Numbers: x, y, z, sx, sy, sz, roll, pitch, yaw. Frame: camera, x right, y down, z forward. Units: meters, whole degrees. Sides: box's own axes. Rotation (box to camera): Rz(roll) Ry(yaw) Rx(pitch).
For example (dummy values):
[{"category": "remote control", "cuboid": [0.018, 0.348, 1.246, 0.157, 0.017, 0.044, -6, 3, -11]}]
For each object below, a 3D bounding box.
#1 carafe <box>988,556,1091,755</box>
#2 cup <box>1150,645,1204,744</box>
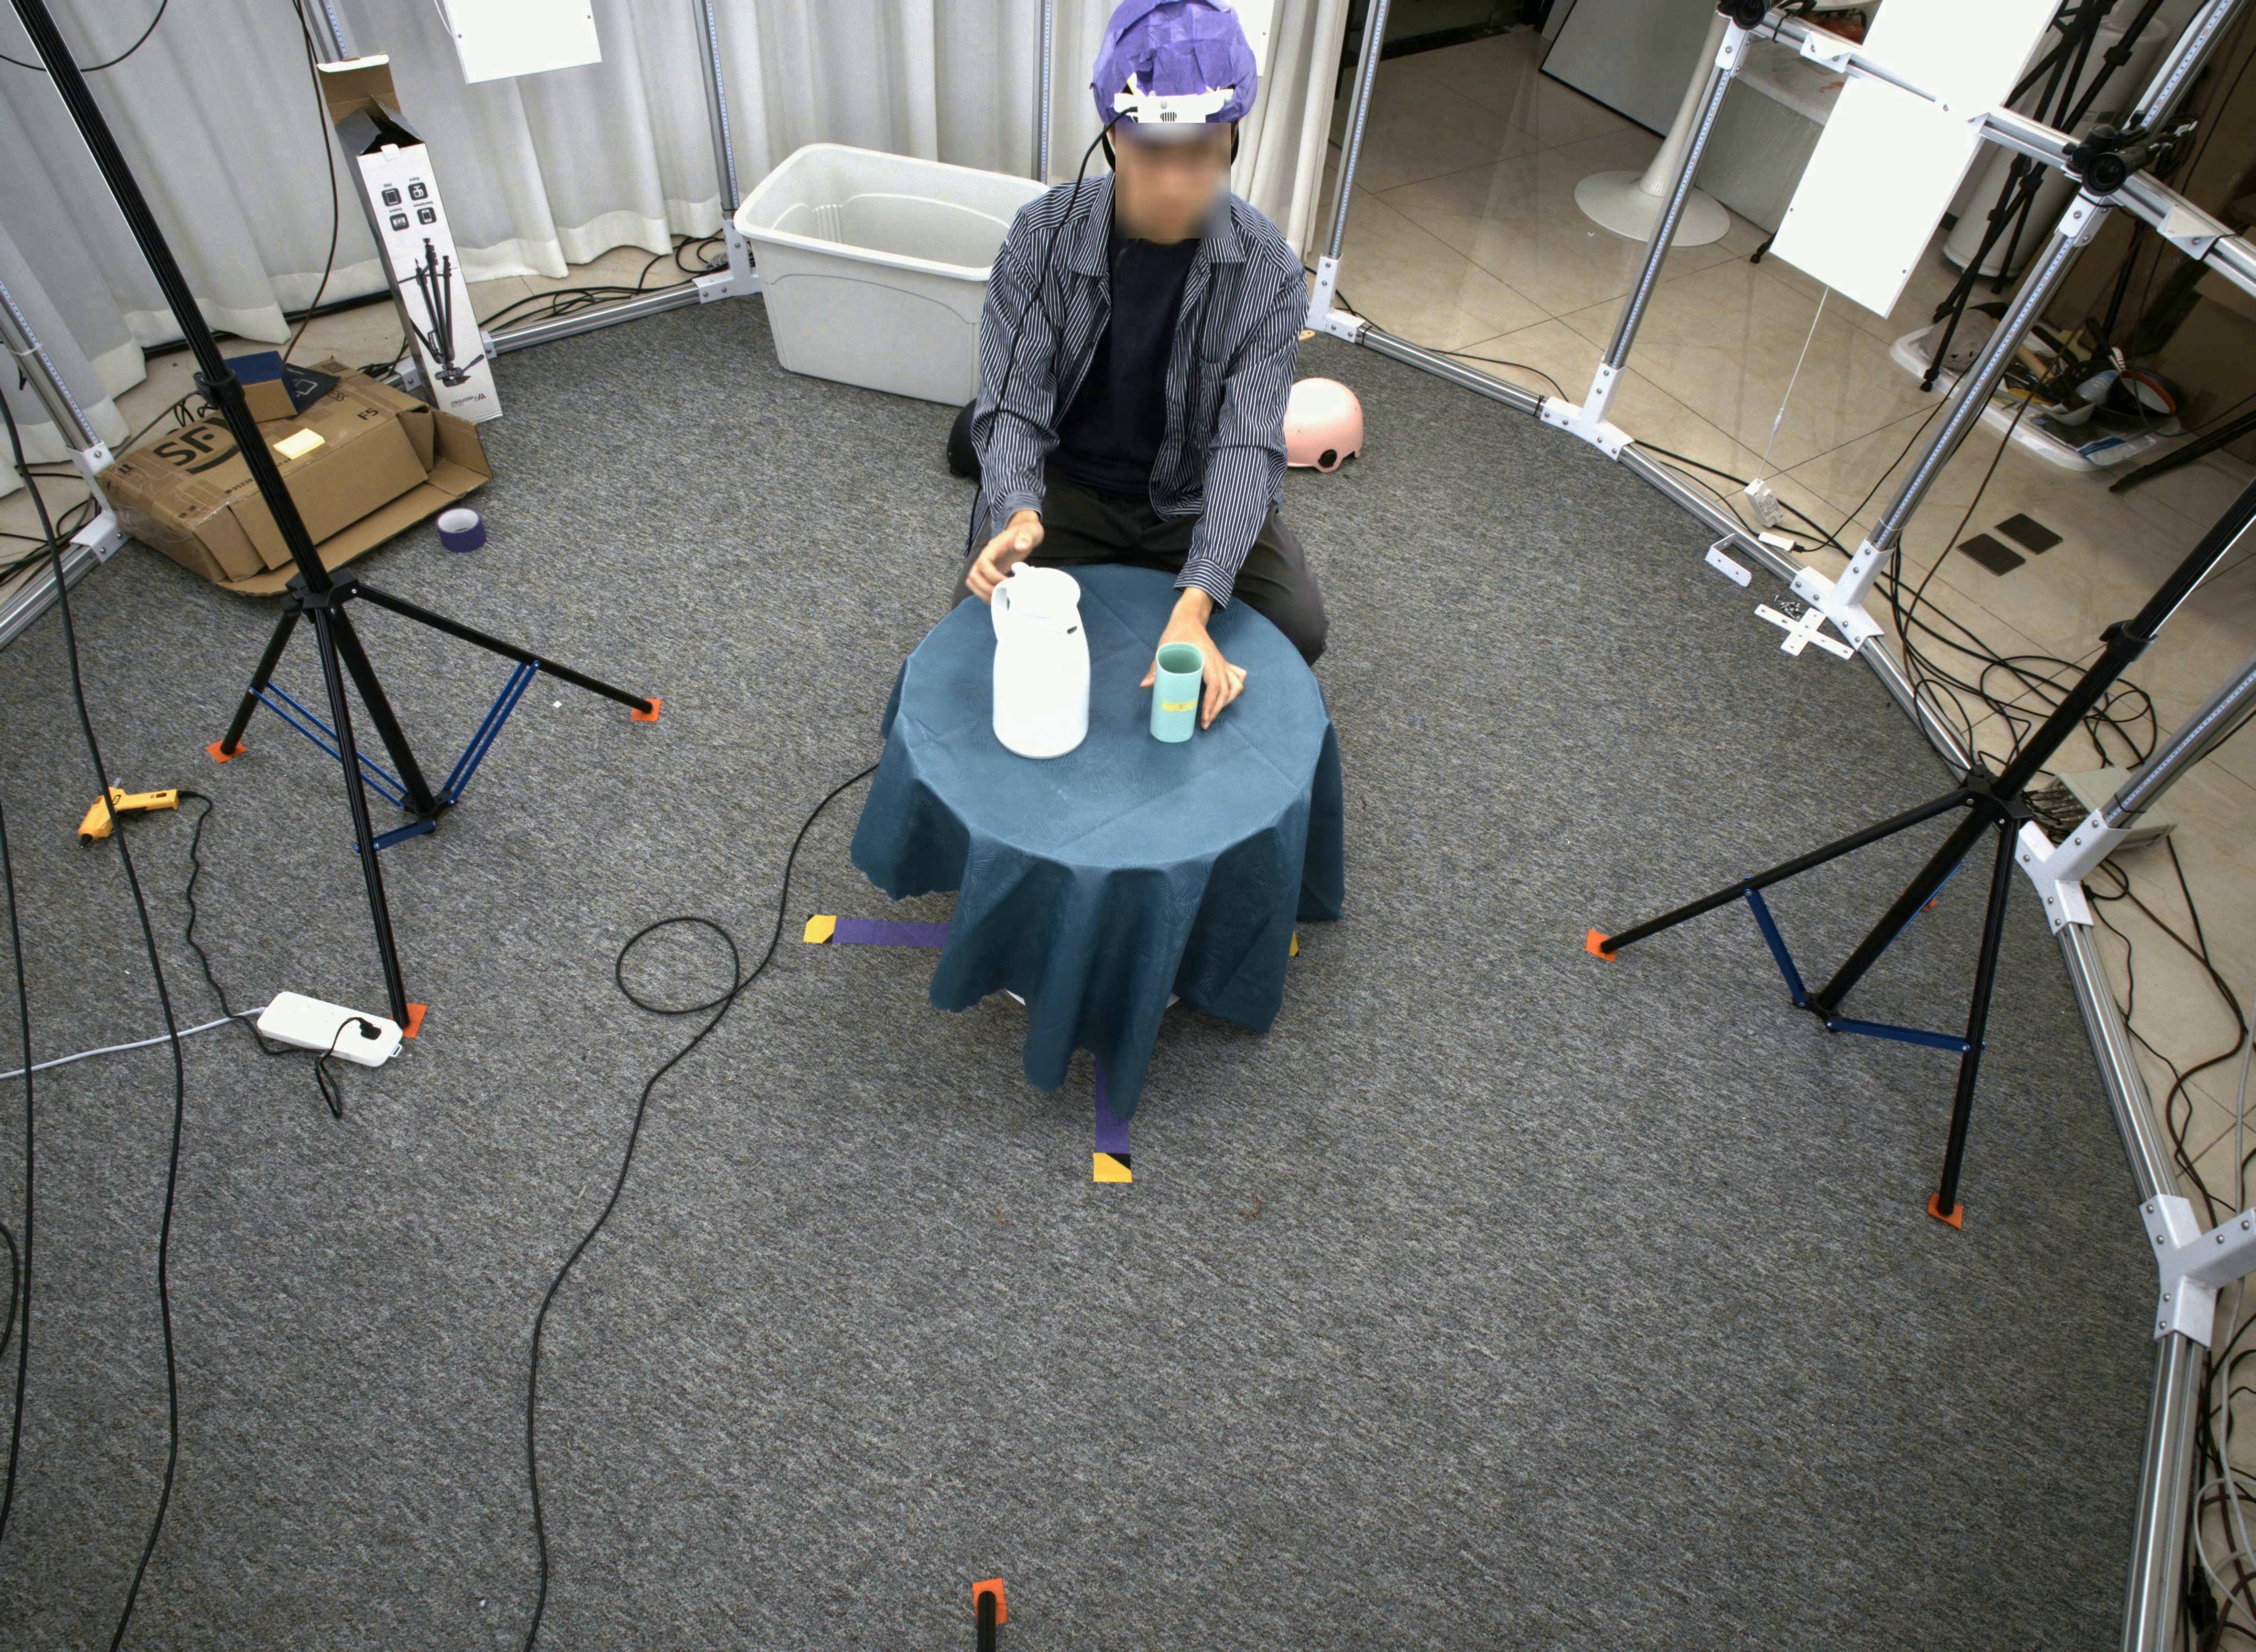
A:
[{"category": "carafe", "cuboid": [-0.125, -0.235, 1.686, 0.133, 0.242, 0.170, -32, 58, -28]}, {"category": "cup", "cuboid": [0.065, -0.178, 1.739, 0.066, 0.129, 0.068, 3, 49, -3]}]
